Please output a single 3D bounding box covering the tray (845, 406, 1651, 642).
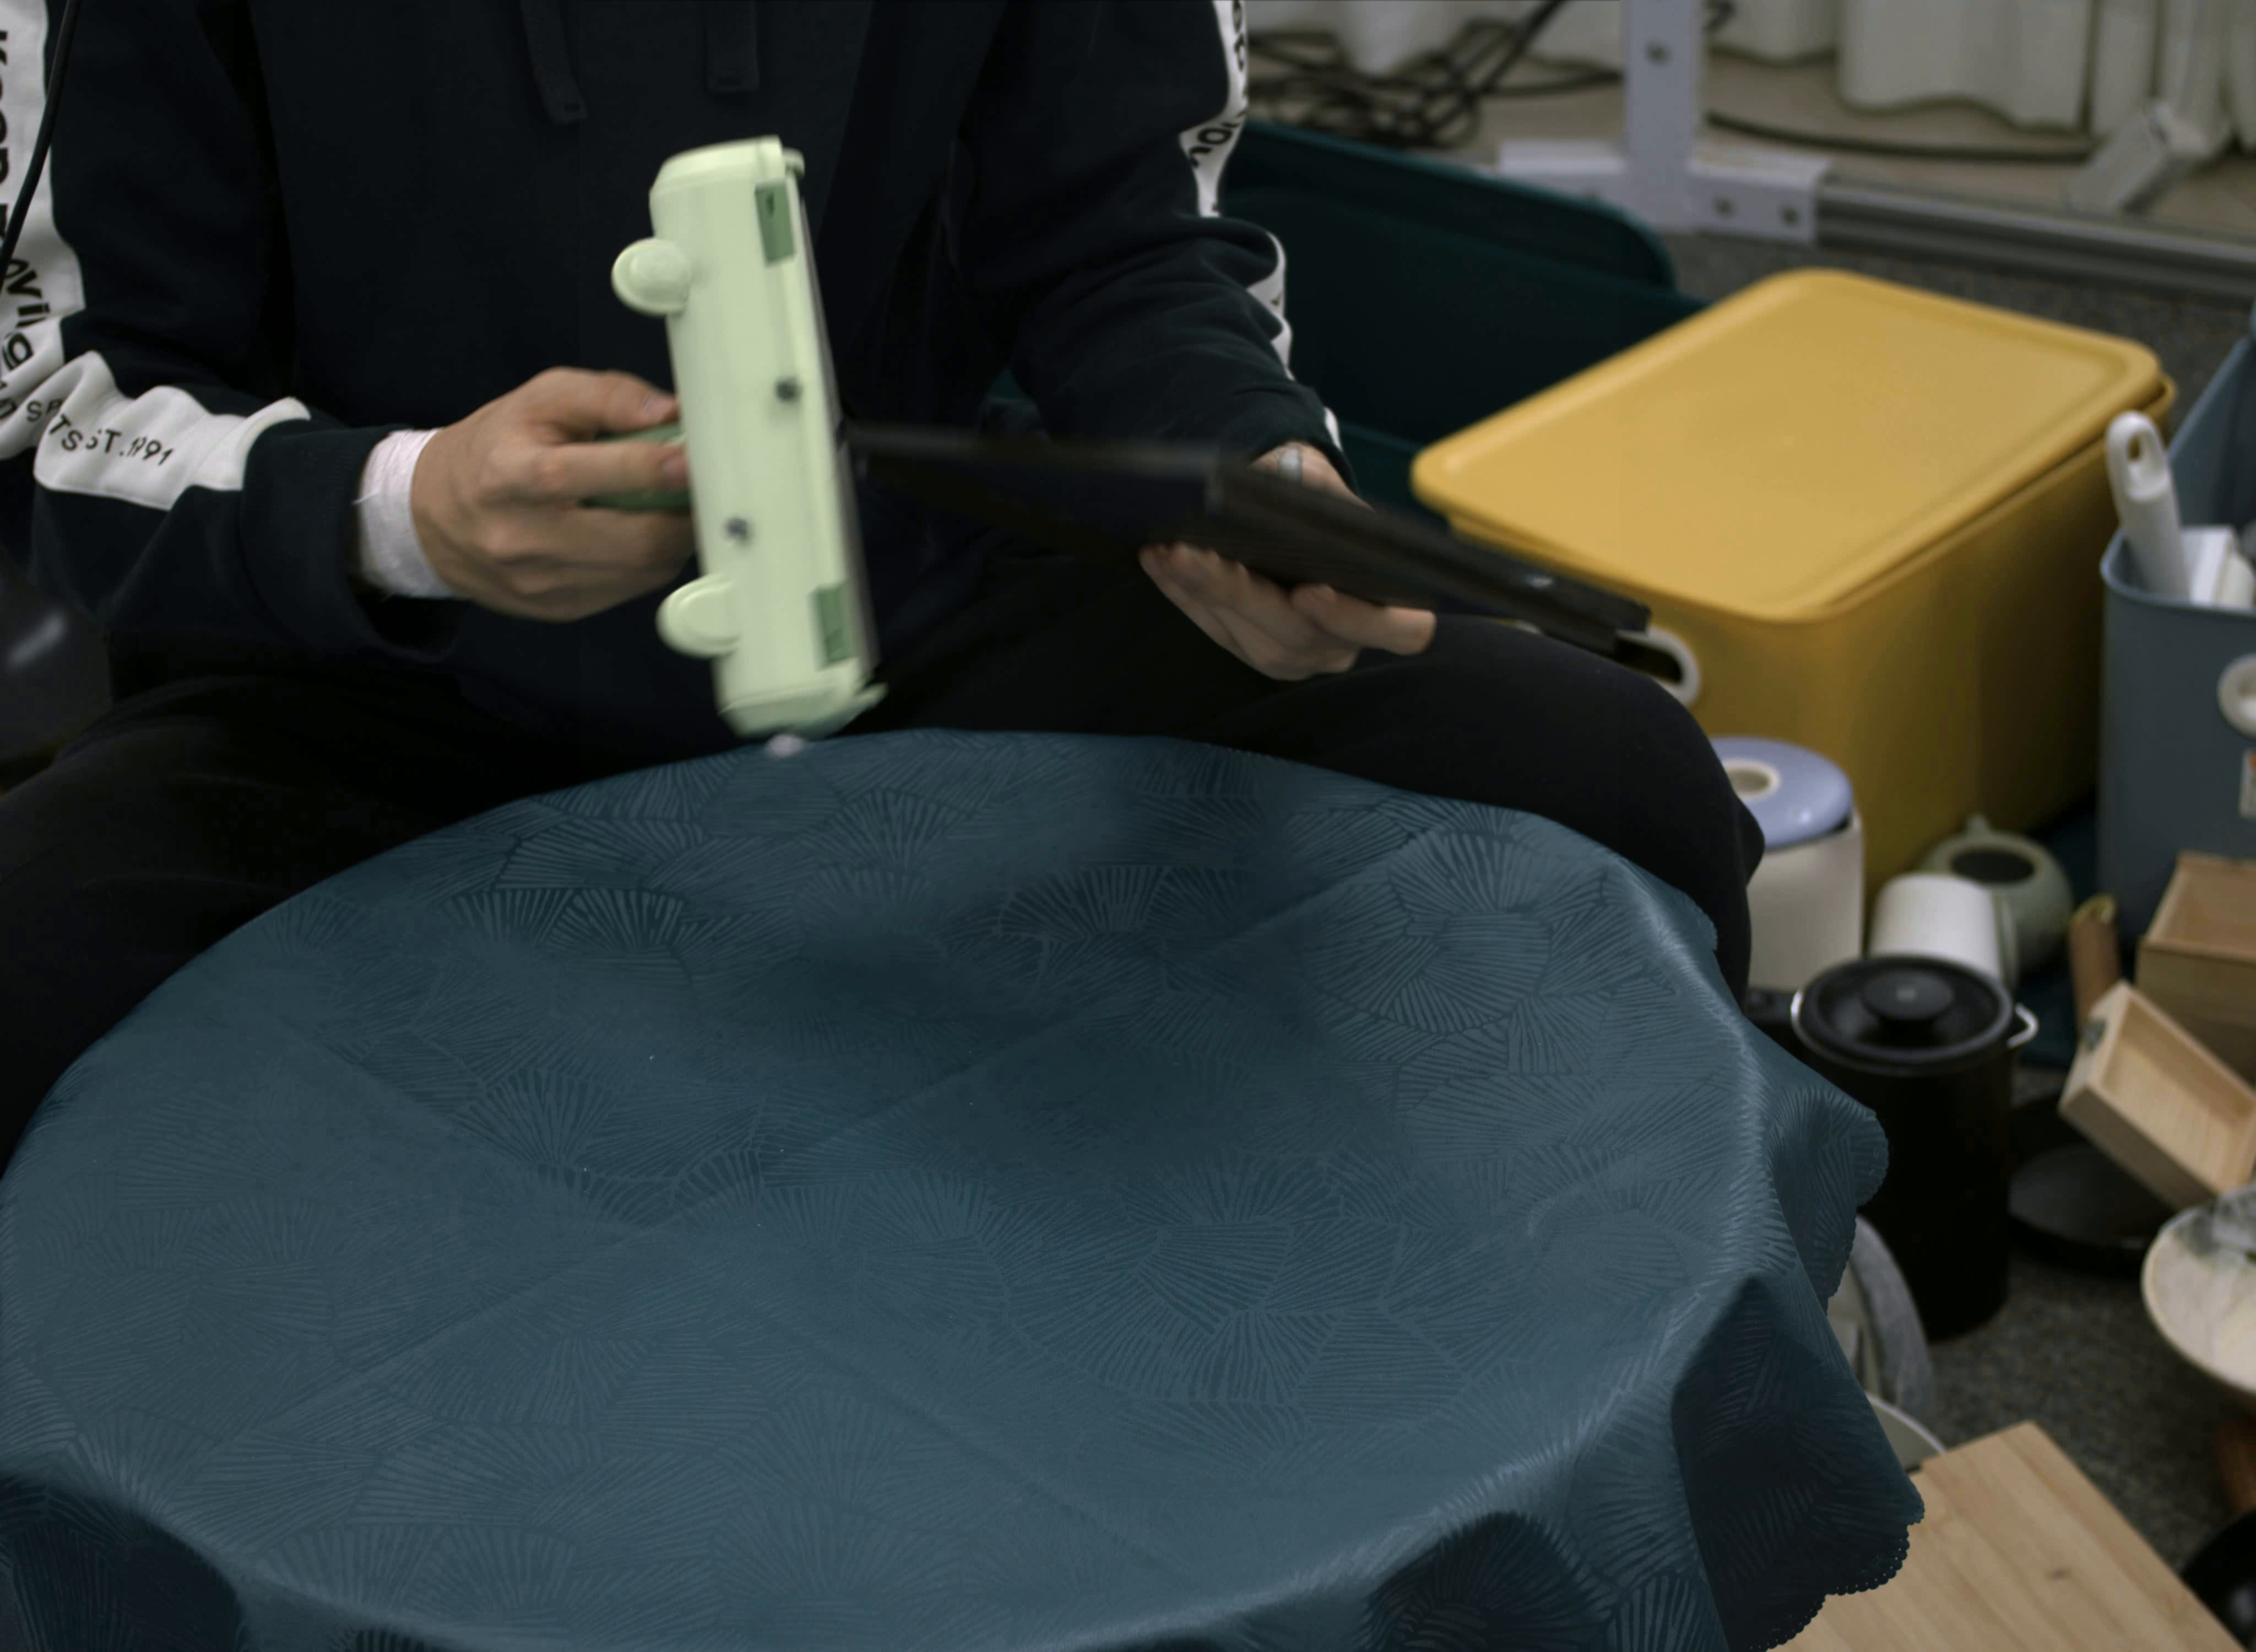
[{"bbox_3d":[0.033,-0.103,1.911,0.169,0.019,0.304,22,-6,-27],"label":"tray"}]

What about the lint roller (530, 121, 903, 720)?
[{"bbox_3d":[-0.163,-0.126,1.929,0.181,0.200,0.083,-12,-3,41],"label":"lint roller"}]
